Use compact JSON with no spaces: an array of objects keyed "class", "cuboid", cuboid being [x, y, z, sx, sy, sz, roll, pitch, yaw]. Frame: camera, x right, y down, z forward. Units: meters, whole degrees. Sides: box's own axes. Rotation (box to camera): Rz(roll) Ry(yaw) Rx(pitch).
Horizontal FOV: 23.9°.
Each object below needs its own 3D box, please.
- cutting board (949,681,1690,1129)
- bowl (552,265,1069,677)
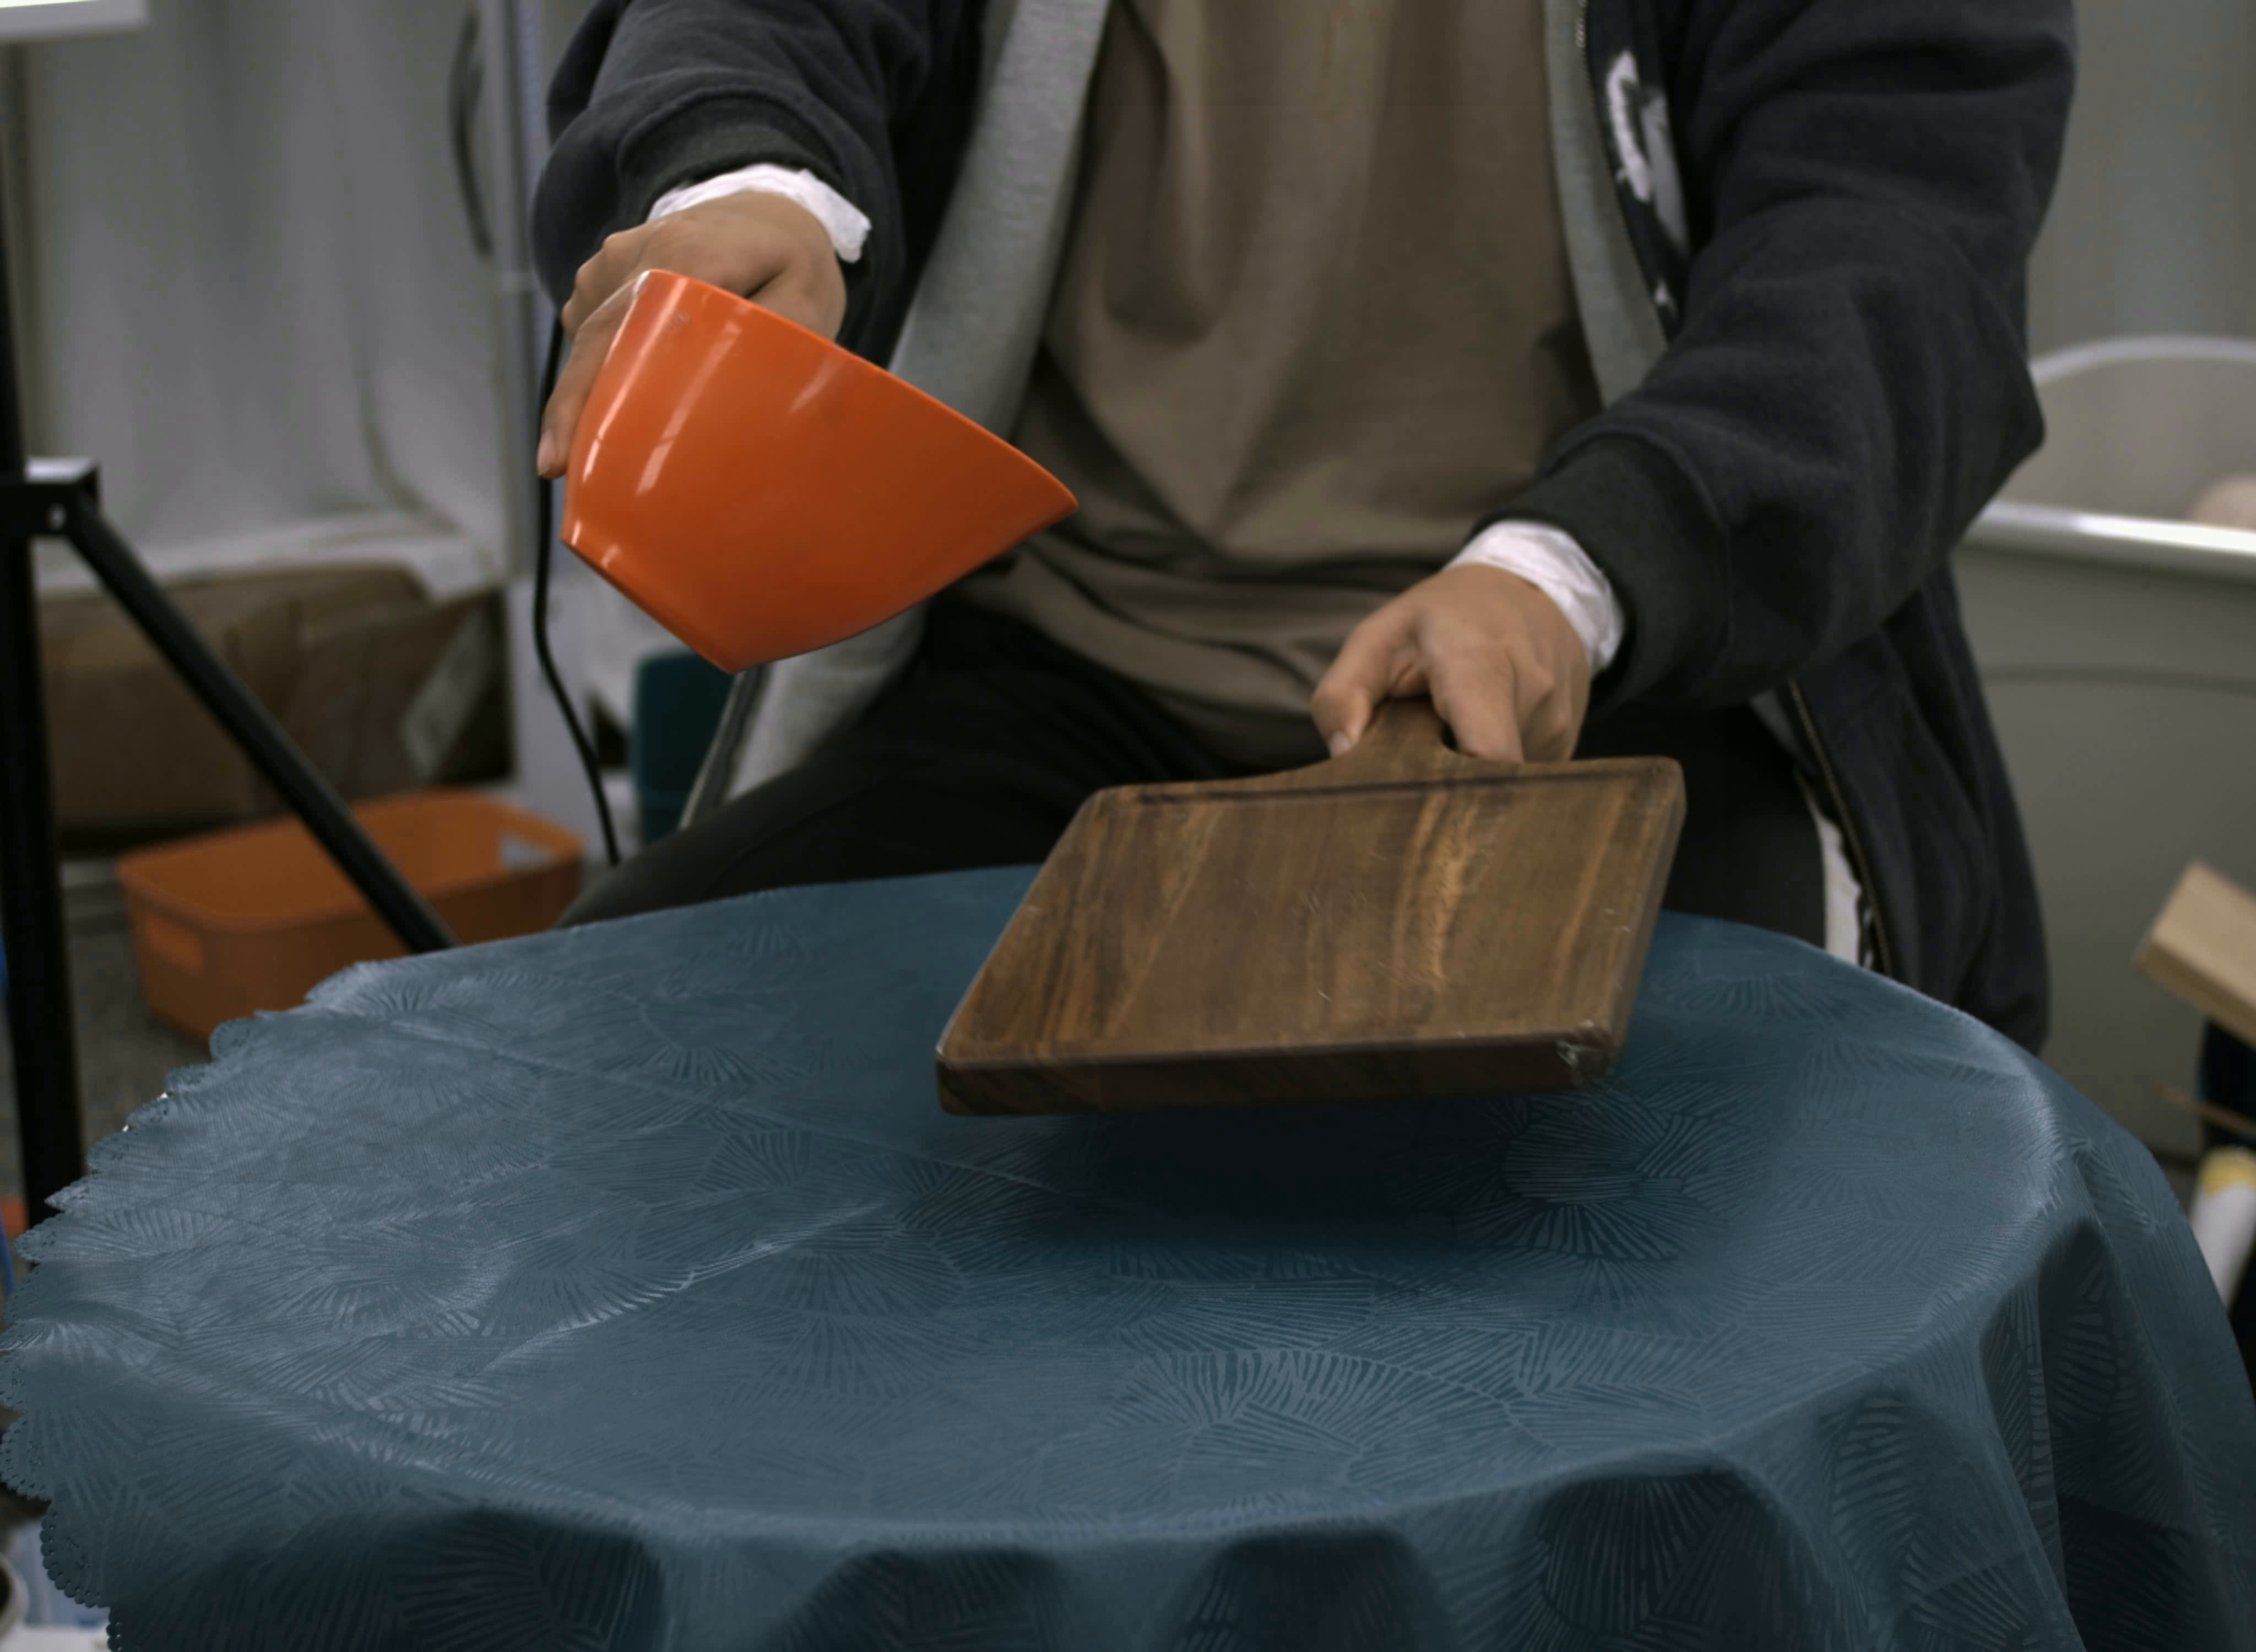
[{"class":"cutting board","cuboid":[0.072,0.017,1.648,0.202,0.023,0.351,-4,18,12]},{"class":"bowl","cuboid":[-0.107,-0.099,1.609,0.148,0.105,0.148,38,-2,0]}]
